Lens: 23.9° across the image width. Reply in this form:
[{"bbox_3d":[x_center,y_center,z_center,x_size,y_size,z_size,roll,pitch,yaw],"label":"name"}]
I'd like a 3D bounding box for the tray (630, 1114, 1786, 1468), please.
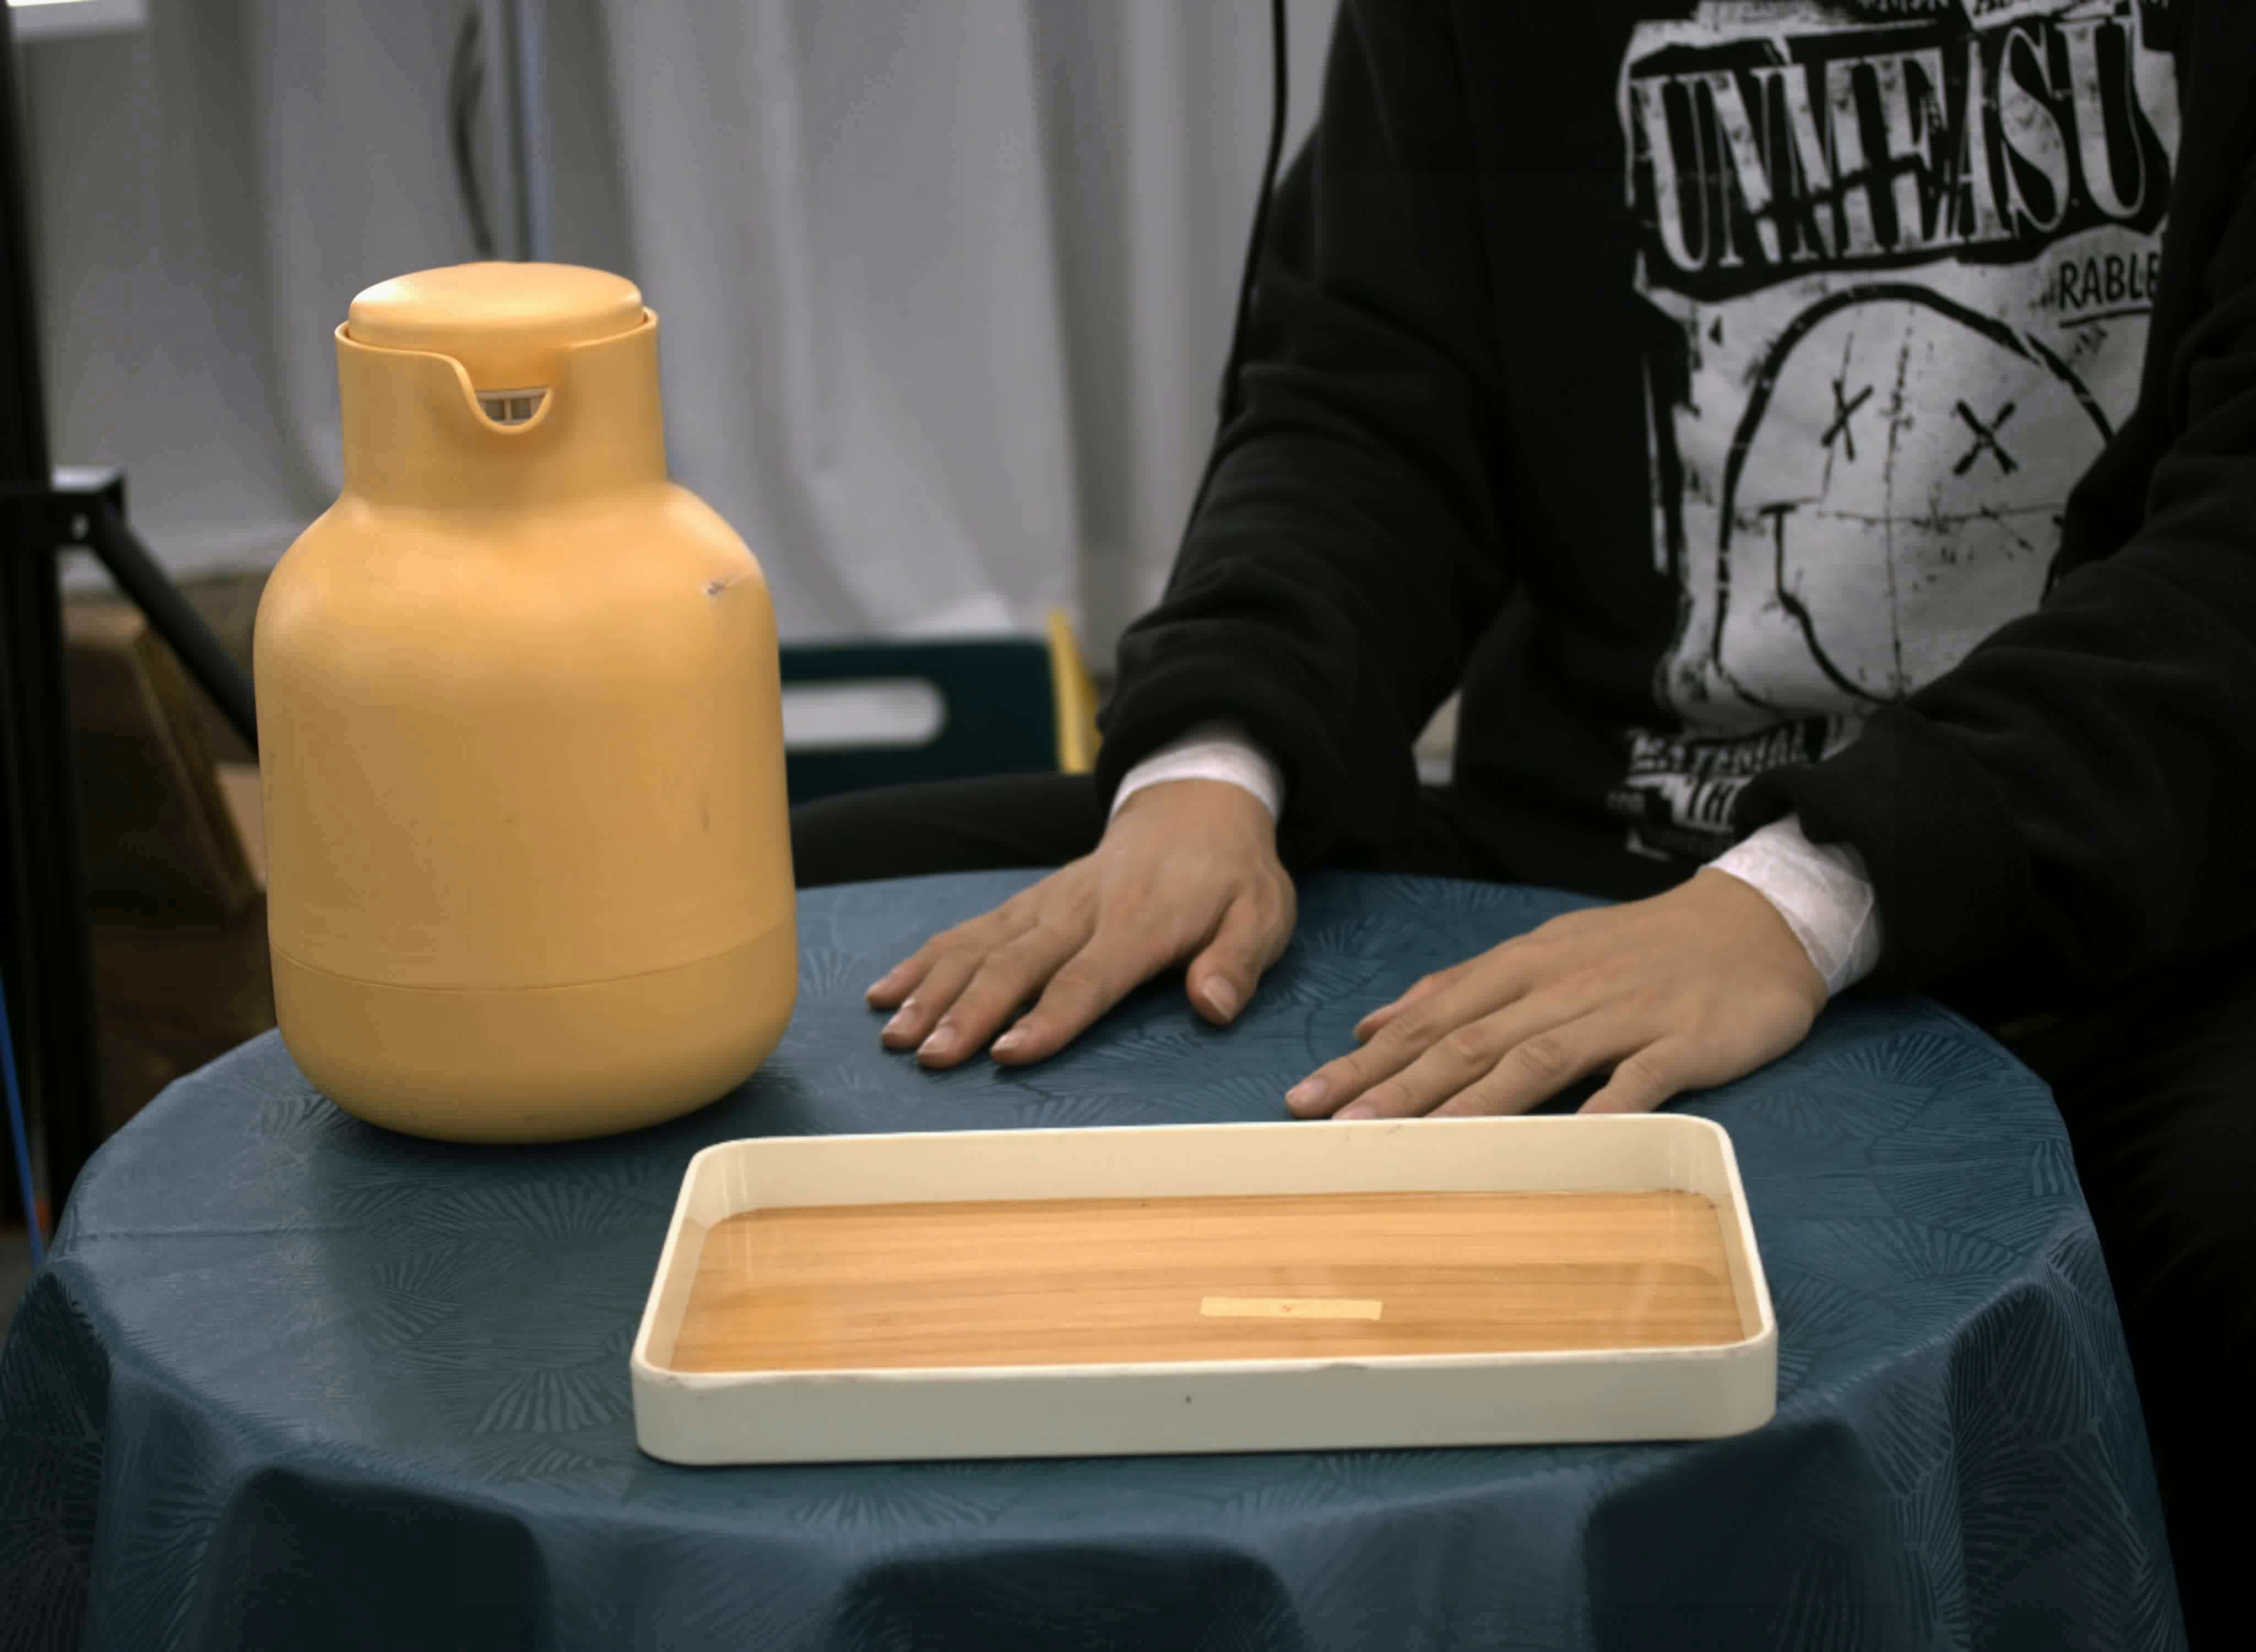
[{"bbox_3d":[0.022,0.125,1.443,0.300,0.027,0.192,-2,16,4],"label":"tray"}]

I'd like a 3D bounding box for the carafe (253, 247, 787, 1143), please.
[{"bbox_3d":[-0.188,-0.048,1.660,0.162,0.260,0.204,-1,16,-6],"label":"carafe"}]
